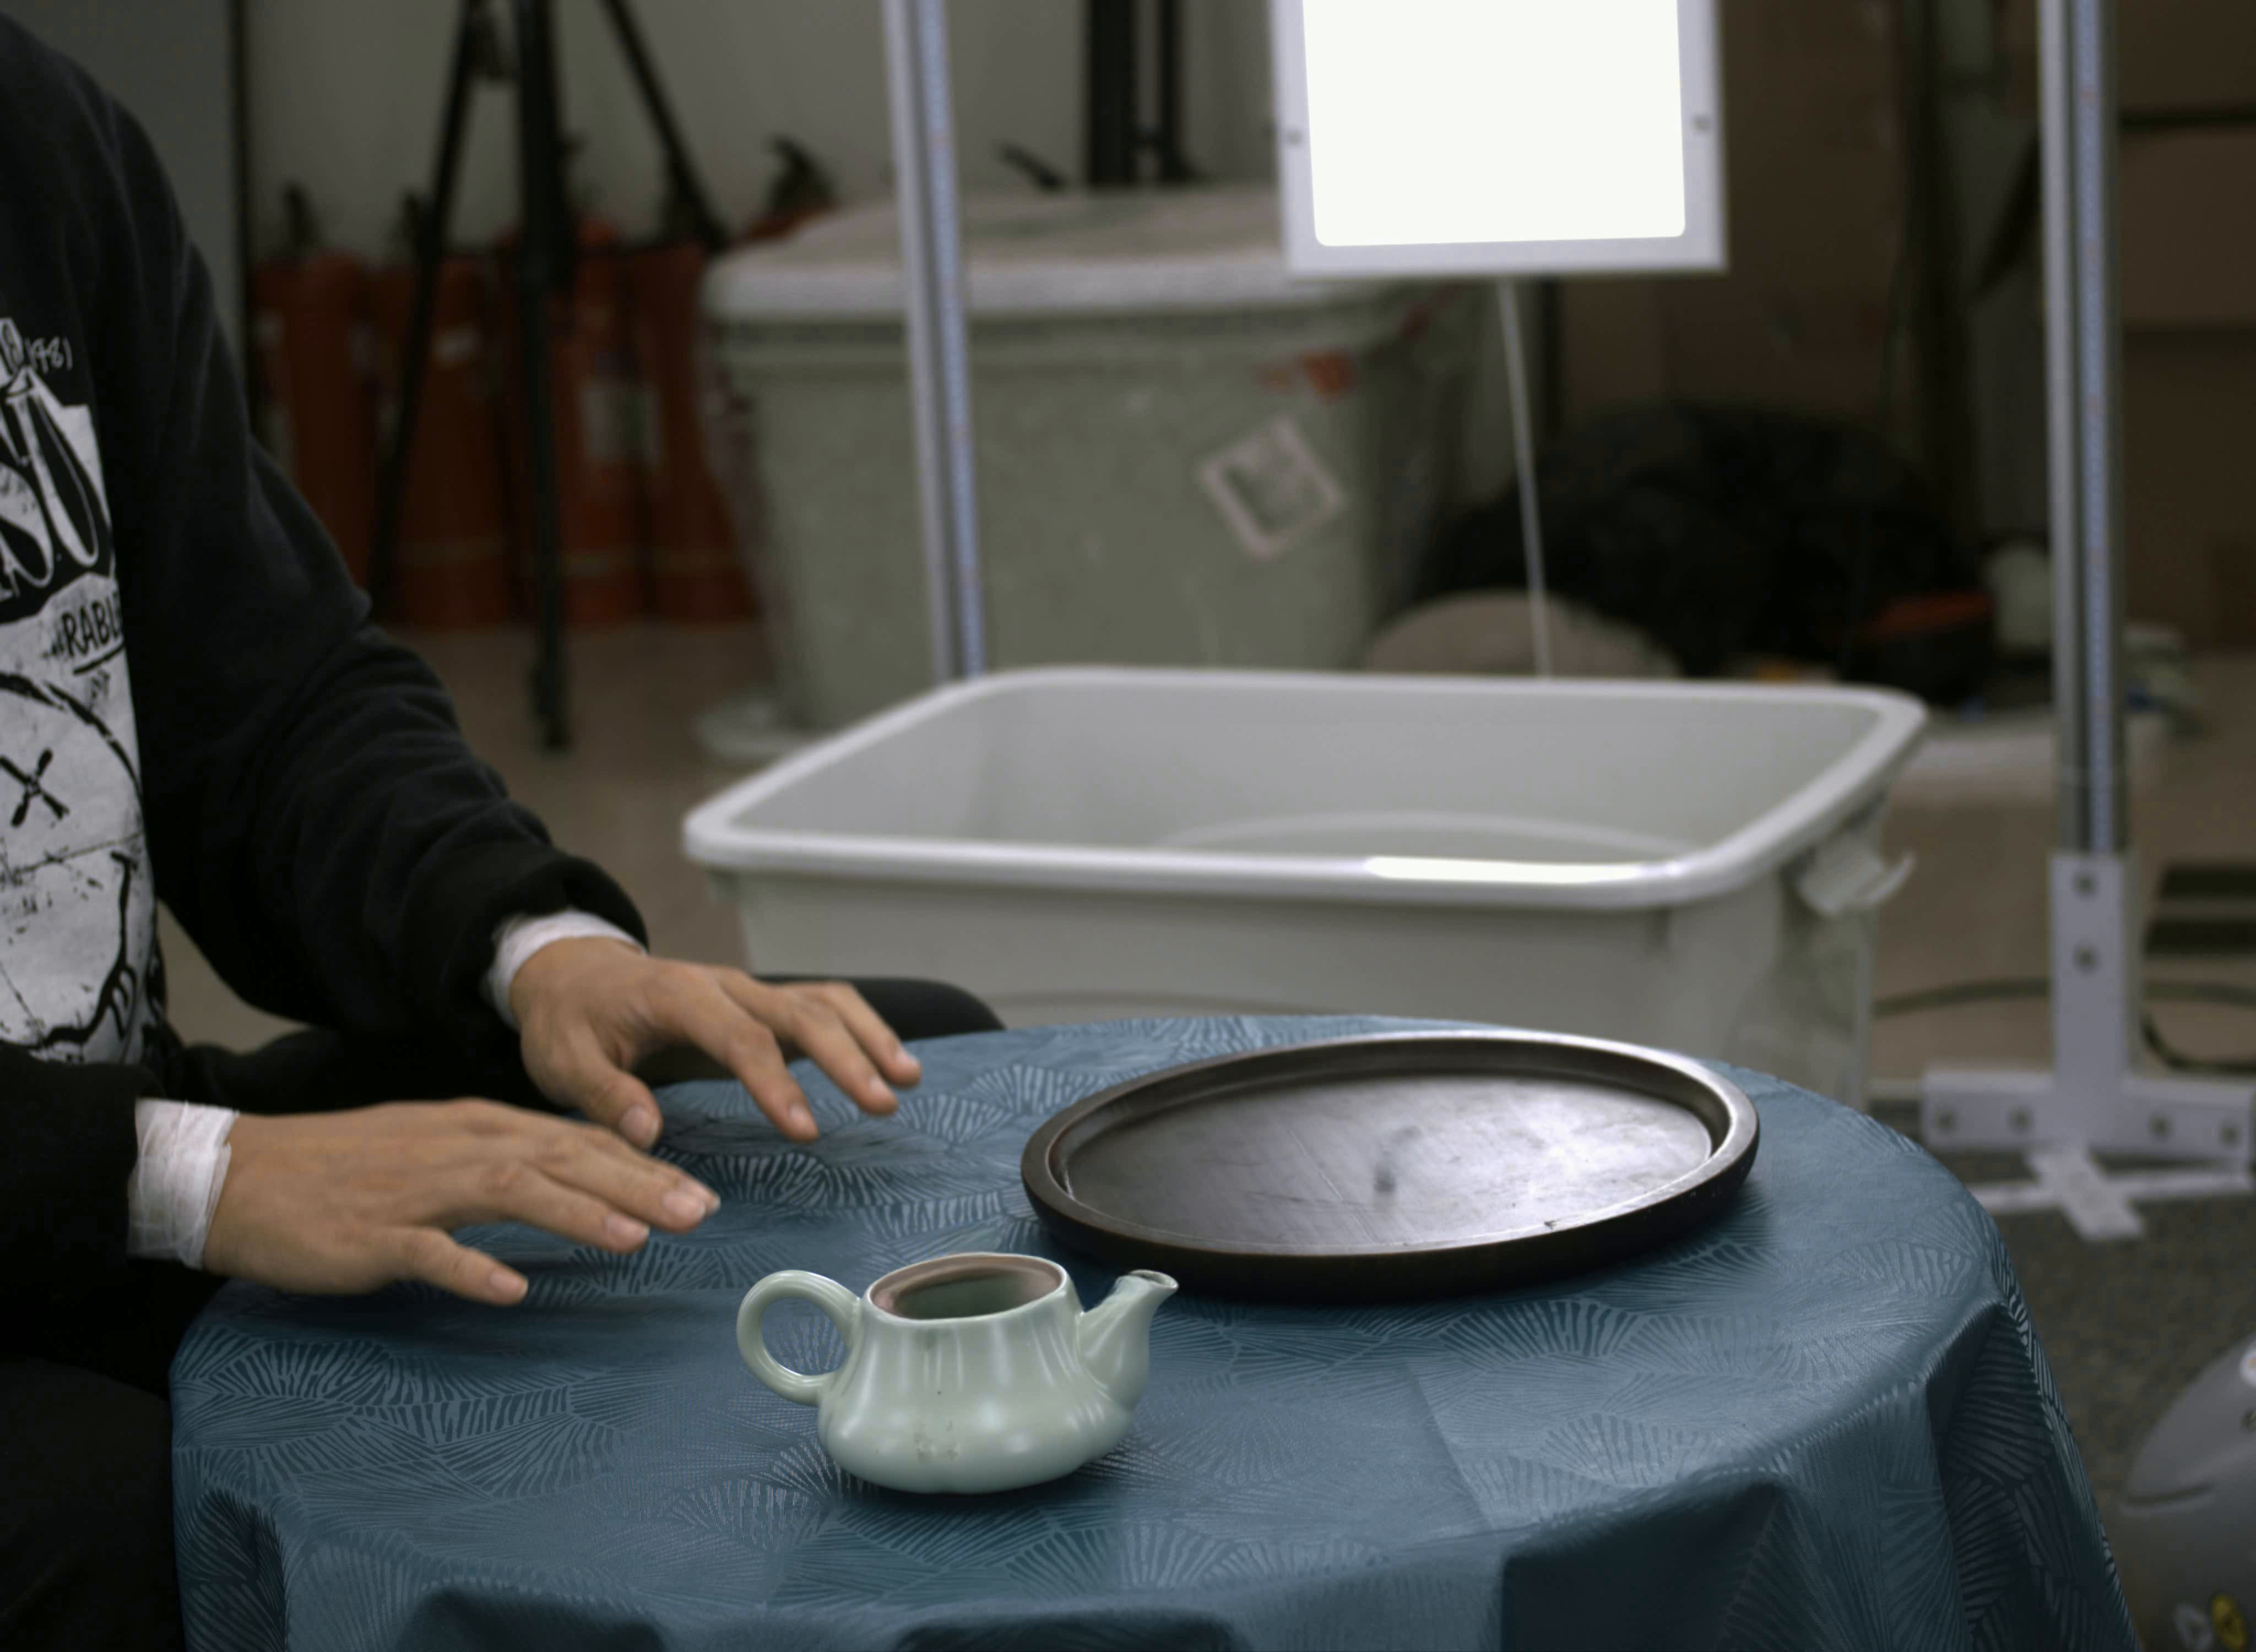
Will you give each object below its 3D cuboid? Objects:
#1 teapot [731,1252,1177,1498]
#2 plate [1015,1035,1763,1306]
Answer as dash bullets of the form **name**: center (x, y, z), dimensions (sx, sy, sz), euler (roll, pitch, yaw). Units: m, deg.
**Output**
- **teapot**: center (-0.051, 0.163, 1.645), dimensions (0.138, 0.061, 0.095), euler (-2, 16, 12)
- **plate**: center (0.089, 0.114, 1.867), dimensions (0.254, 0.029, 0.254), euler (-5, 15, 0)
